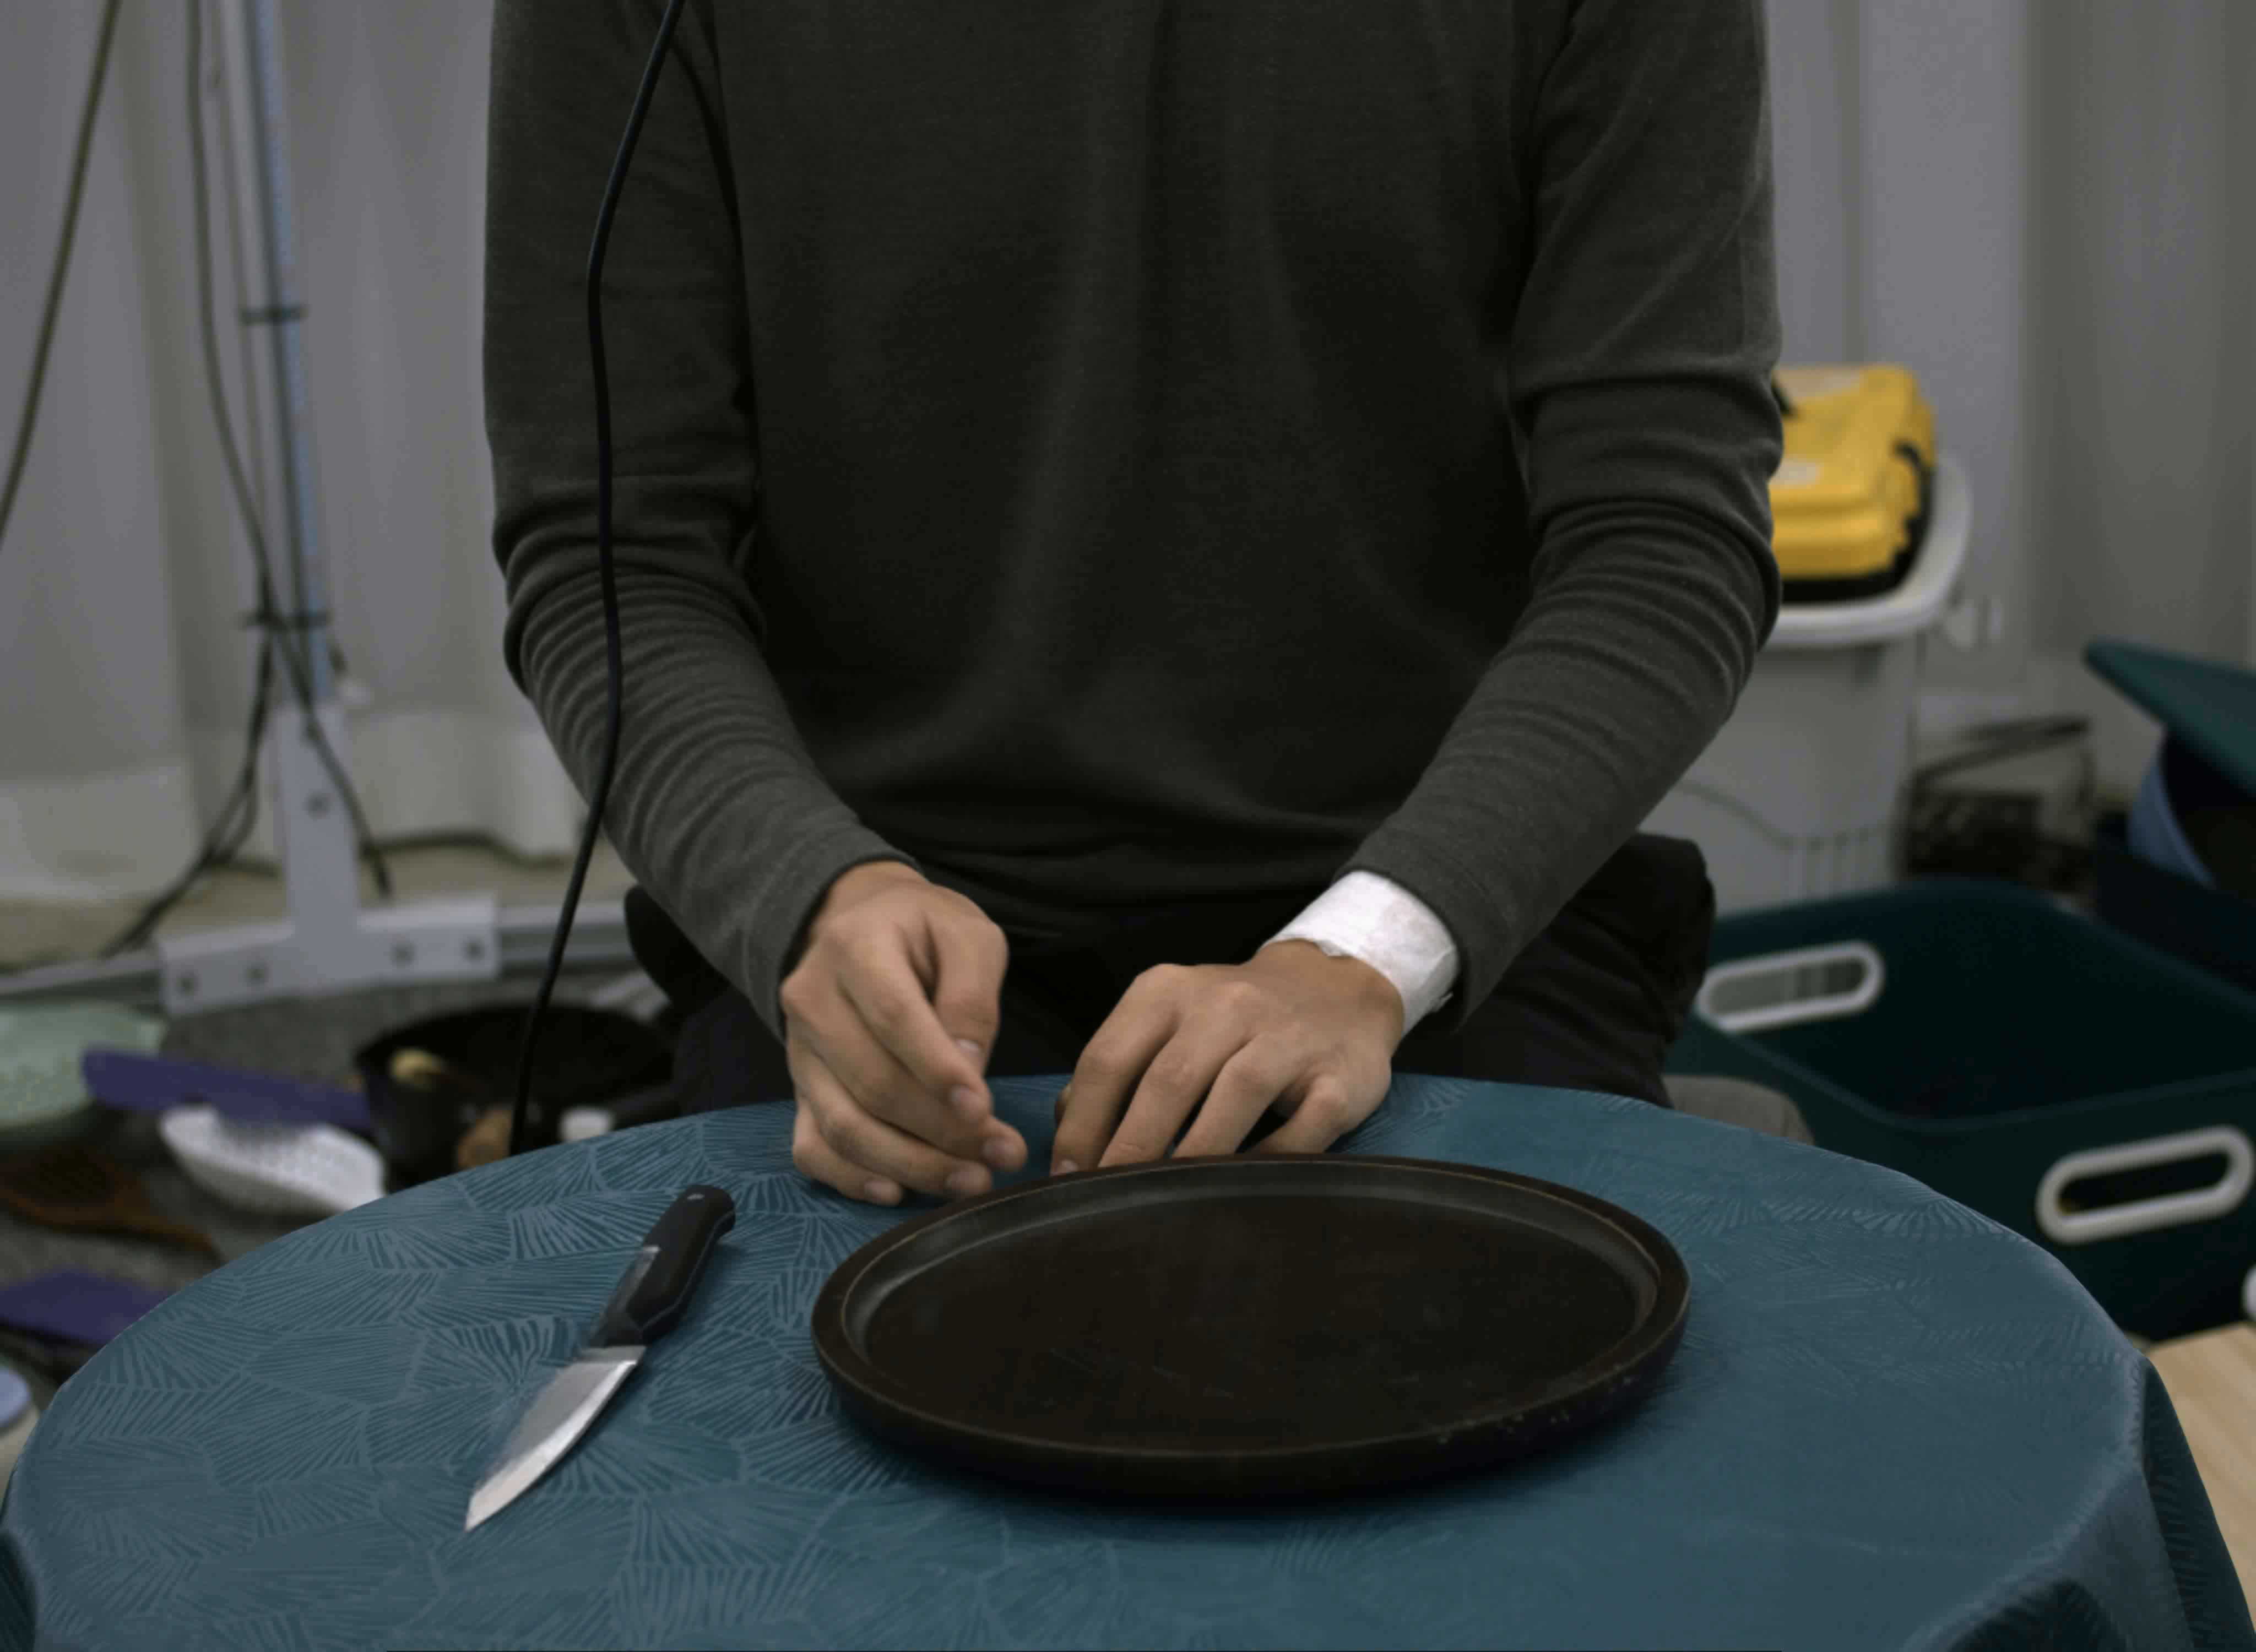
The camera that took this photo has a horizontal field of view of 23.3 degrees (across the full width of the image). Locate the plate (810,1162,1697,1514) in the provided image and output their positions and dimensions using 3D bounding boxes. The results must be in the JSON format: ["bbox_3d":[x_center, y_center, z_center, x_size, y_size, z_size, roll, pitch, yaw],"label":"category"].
[{"bbox_3d":[0.036,0.143,1.561,0.254,0.029,0.256,-2,16,0],"label":"plate"}]

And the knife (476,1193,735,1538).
[{"bbox_3d":[-0.153,0.154,1.576,0.024,0.016,0.239,3,18,11],"label":"knife"}]
